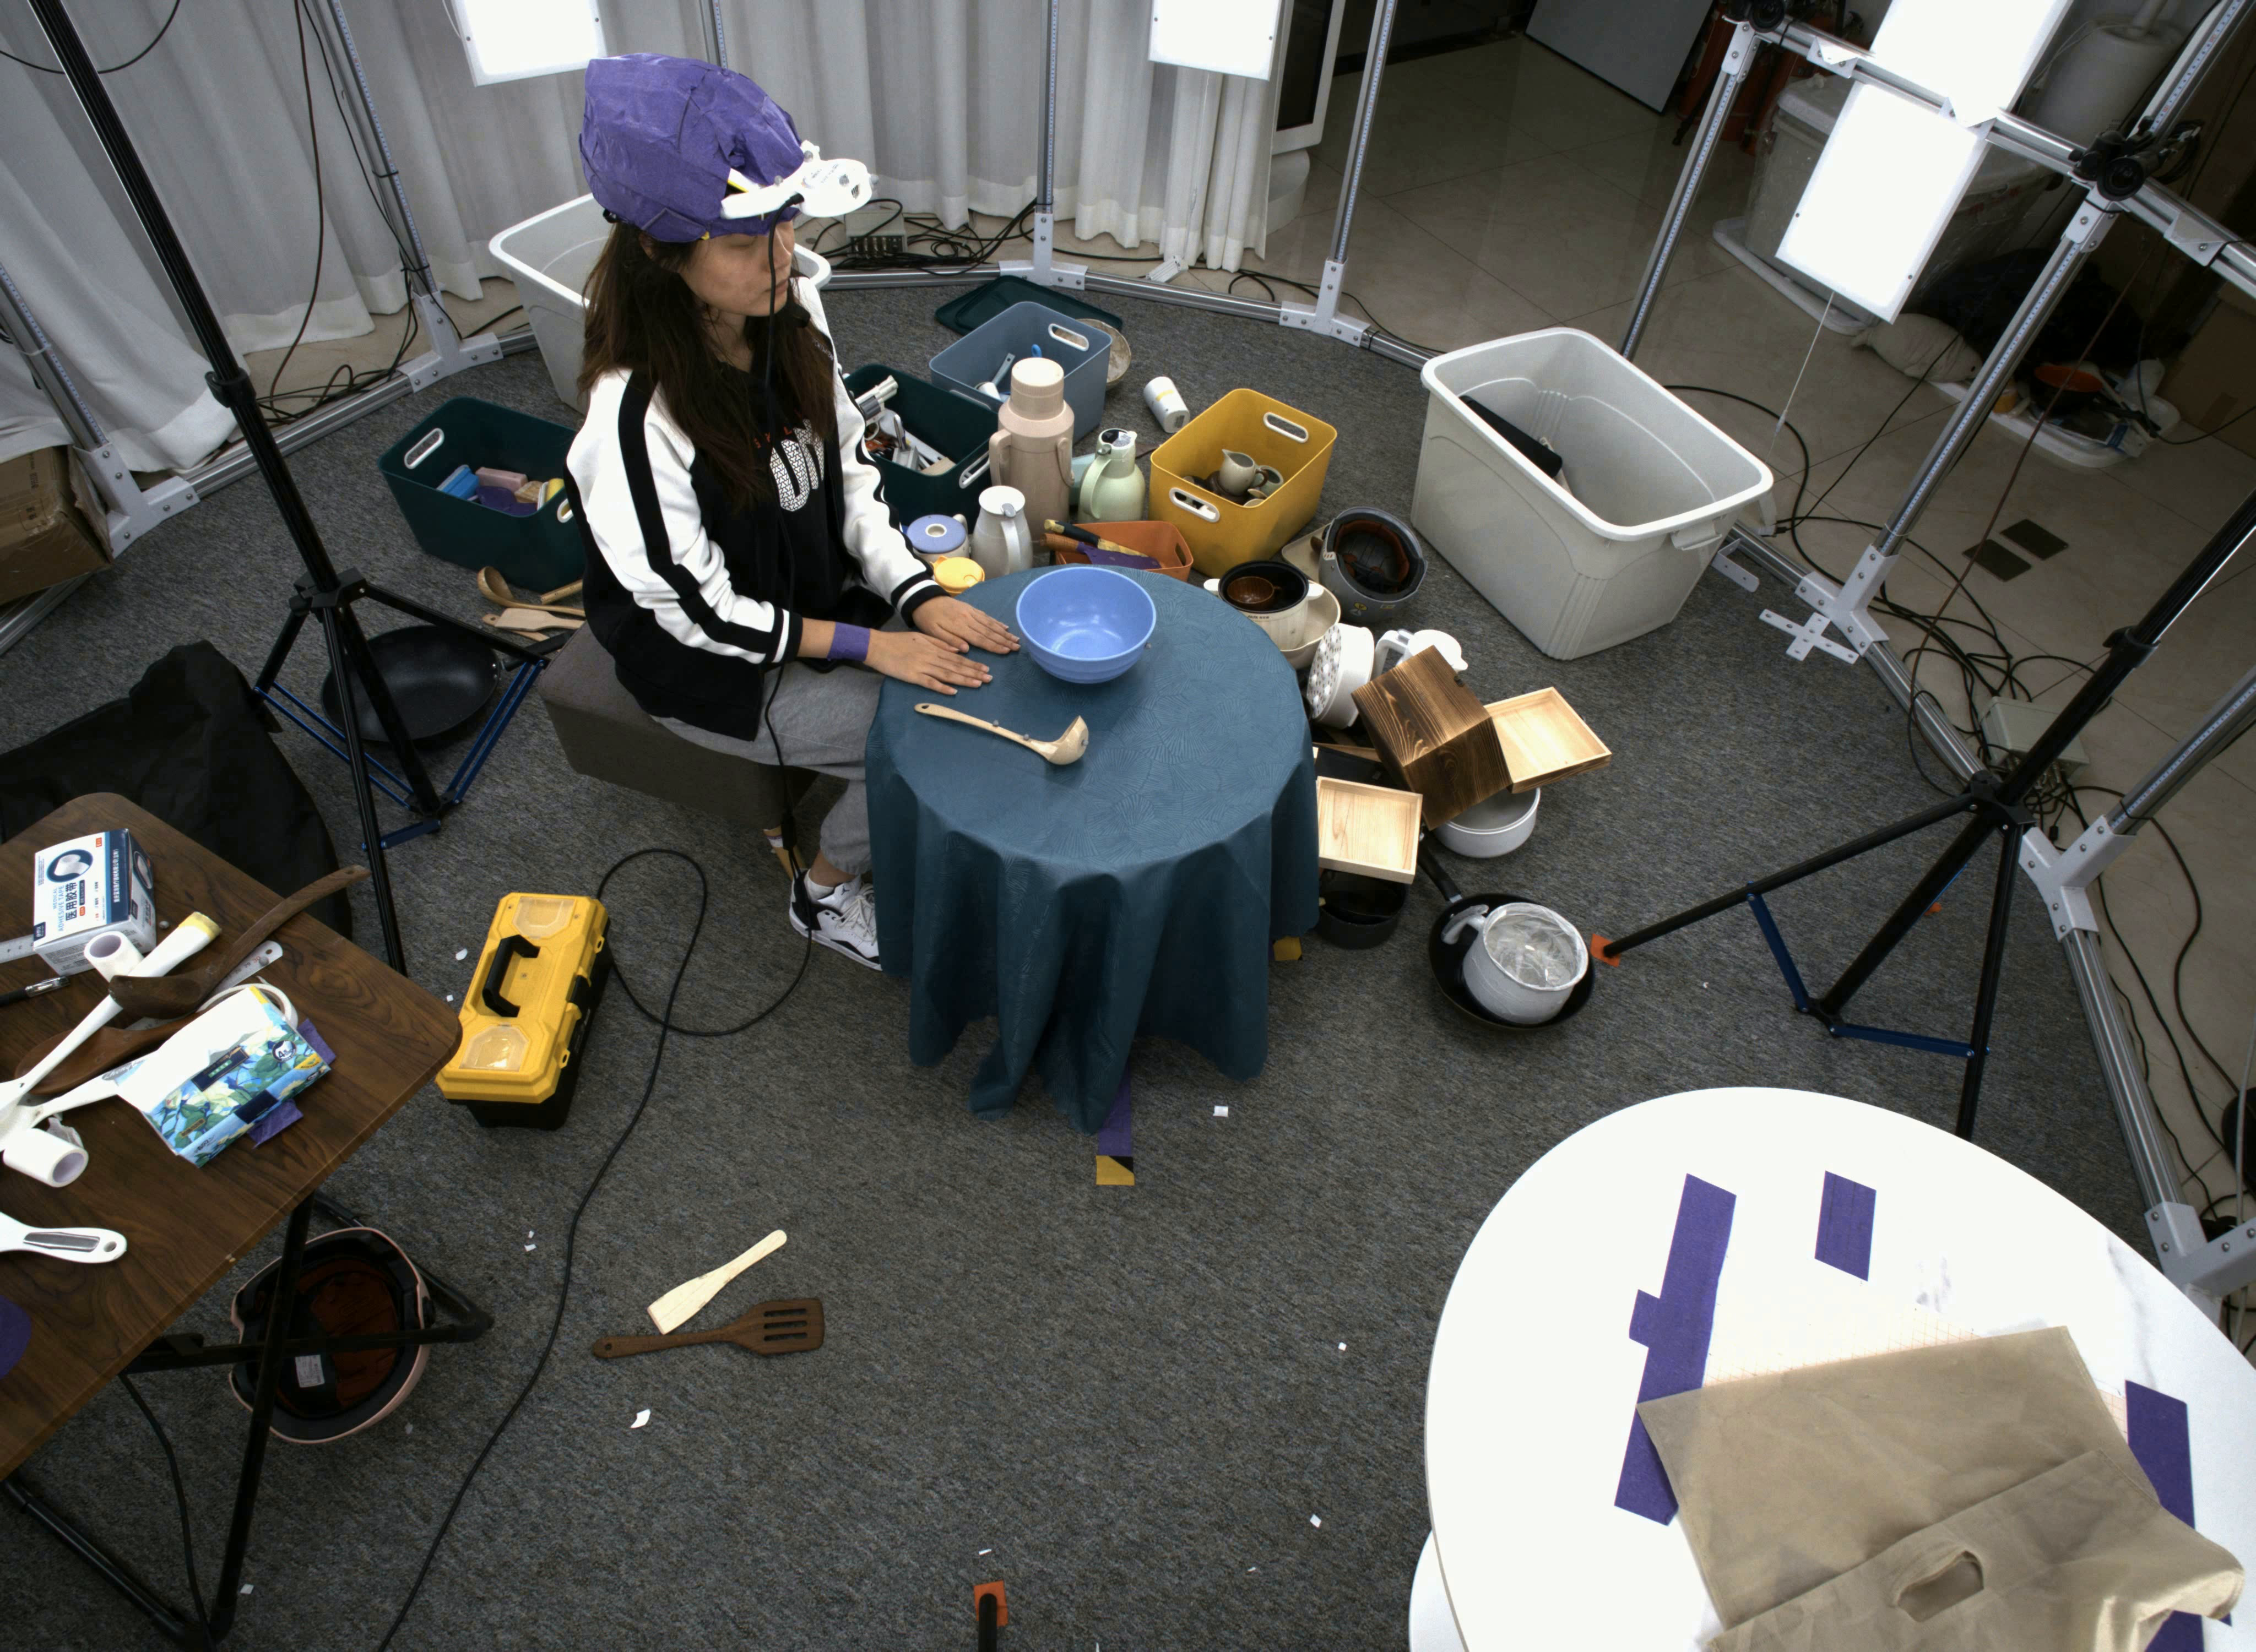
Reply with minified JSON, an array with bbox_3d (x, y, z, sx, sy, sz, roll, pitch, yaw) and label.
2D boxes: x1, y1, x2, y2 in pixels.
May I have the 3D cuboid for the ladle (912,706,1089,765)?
[{"bbox_3d":[-0.177,-0.147,1.739,0.255,0.071,0.073,18,49,11],"label":"ladle"}]

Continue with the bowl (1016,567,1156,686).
[{"bbox_3d":[-0.061,-0.270,1.843,0.196,0.093,0.201,1,50,-2],"label":"bowl"}]
